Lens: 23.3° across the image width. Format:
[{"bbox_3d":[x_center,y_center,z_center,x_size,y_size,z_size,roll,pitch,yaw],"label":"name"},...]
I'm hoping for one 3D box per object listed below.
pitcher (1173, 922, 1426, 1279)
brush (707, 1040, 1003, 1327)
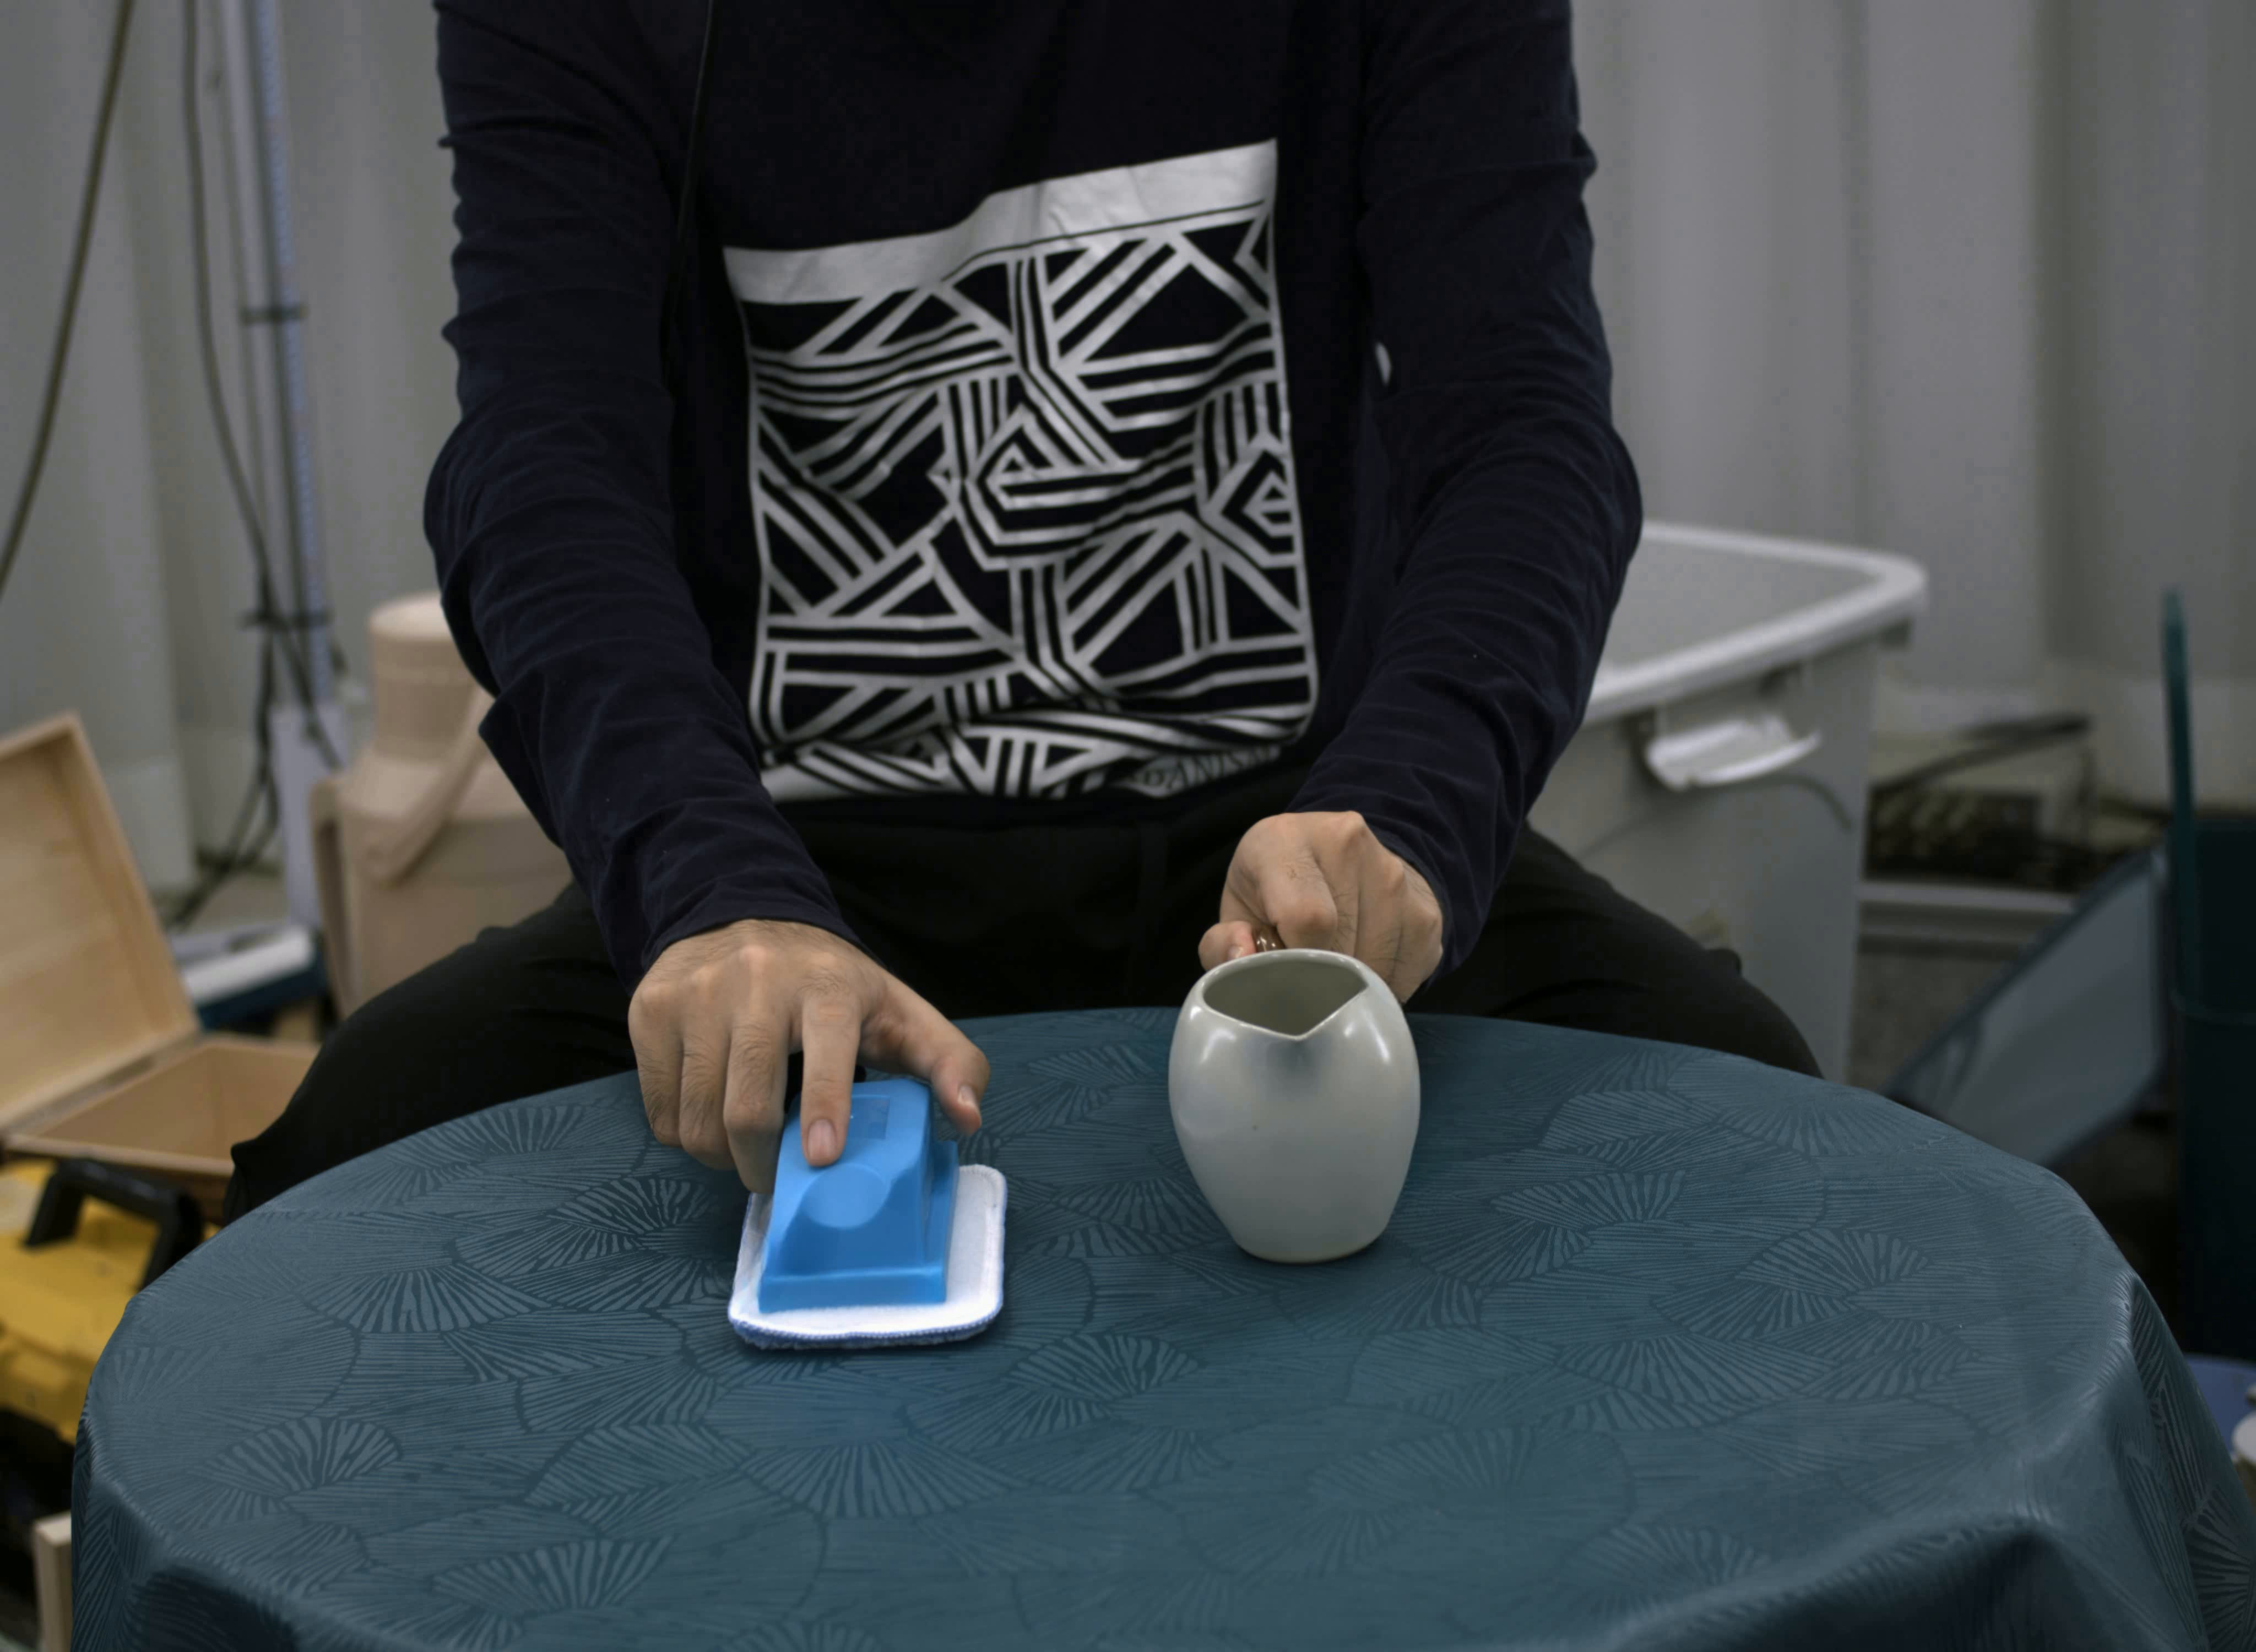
[{"bbox_3d":[0.052,0.083,1.644,0.075,0.087,0.120,-2,26,2],"label":"pitcher"},{"bbox_3d":[-0.081,0.105,1.650,0.083,0.055,0.145,1,18,2],"label":"brush"}]
